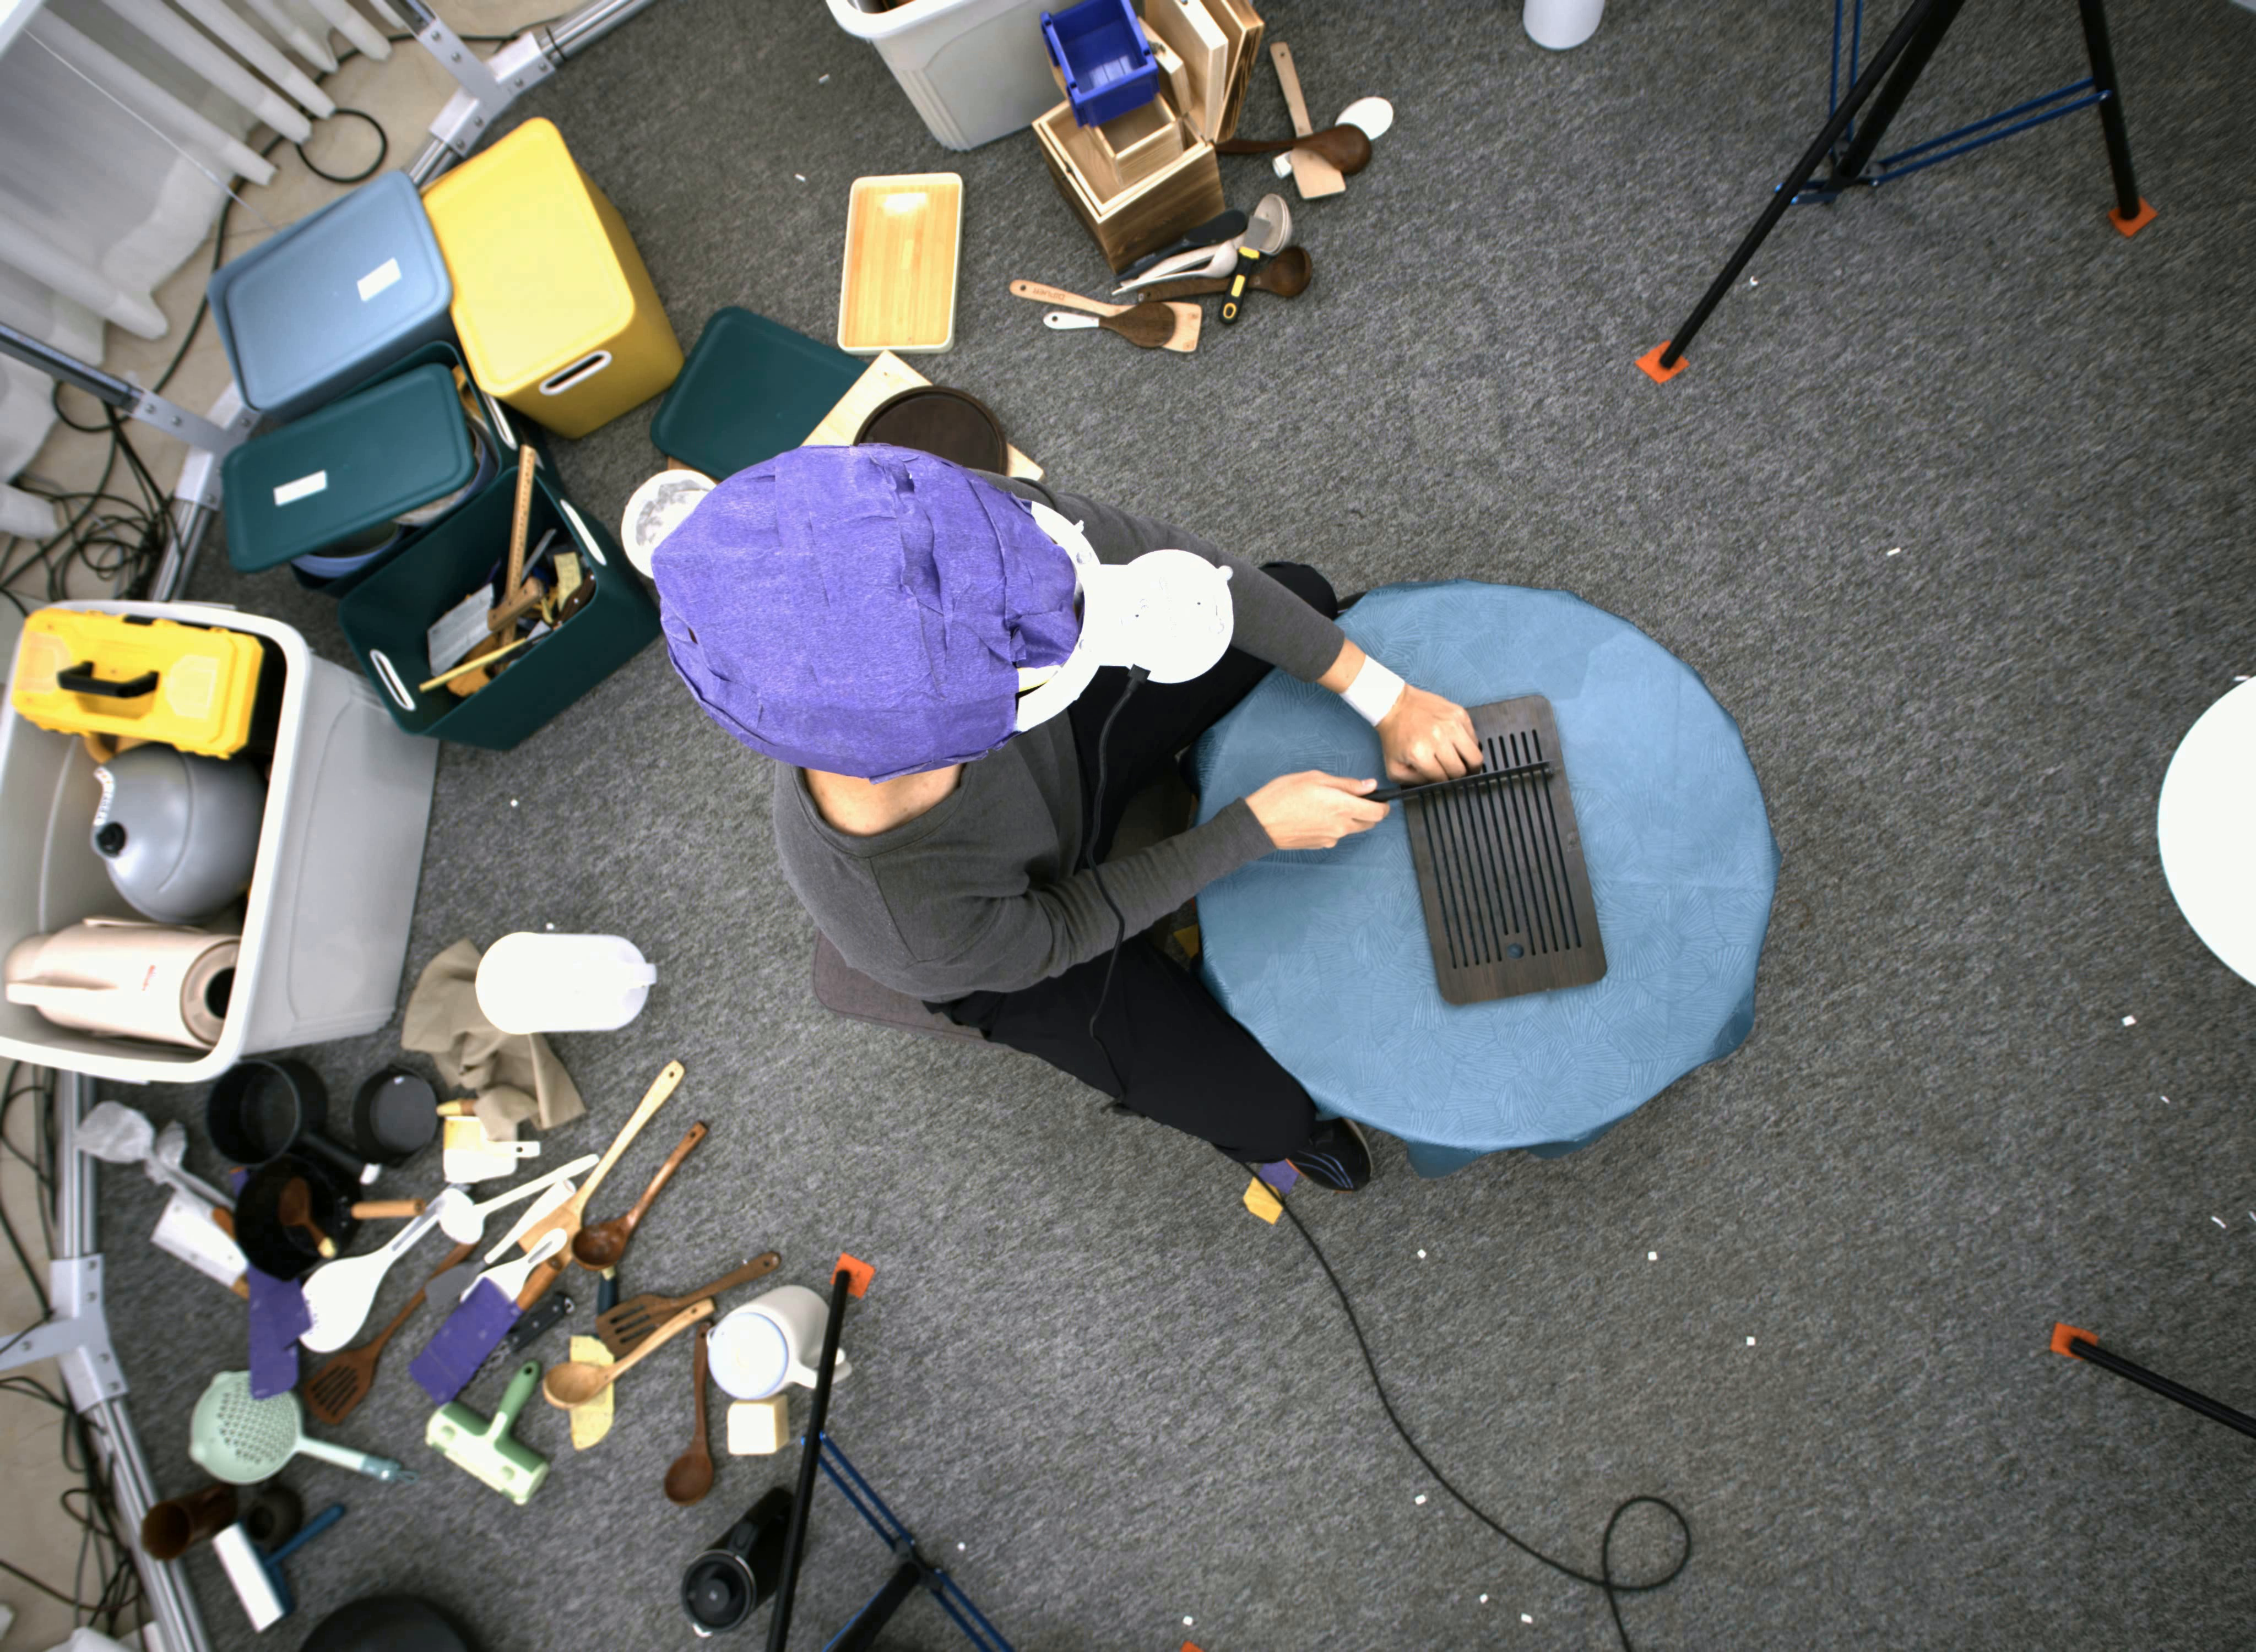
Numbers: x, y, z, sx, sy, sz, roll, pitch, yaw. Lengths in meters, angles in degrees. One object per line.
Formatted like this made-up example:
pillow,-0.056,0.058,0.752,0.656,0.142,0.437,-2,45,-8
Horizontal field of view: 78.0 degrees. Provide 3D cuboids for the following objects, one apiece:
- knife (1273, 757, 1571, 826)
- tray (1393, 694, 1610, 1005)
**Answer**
knife,0.297,-0.038,1.398,0.303,0.081,0.020,-11,81,6
tray,0.387,0.022,1.431,0.171,0.018,0.304,-11,84,11
